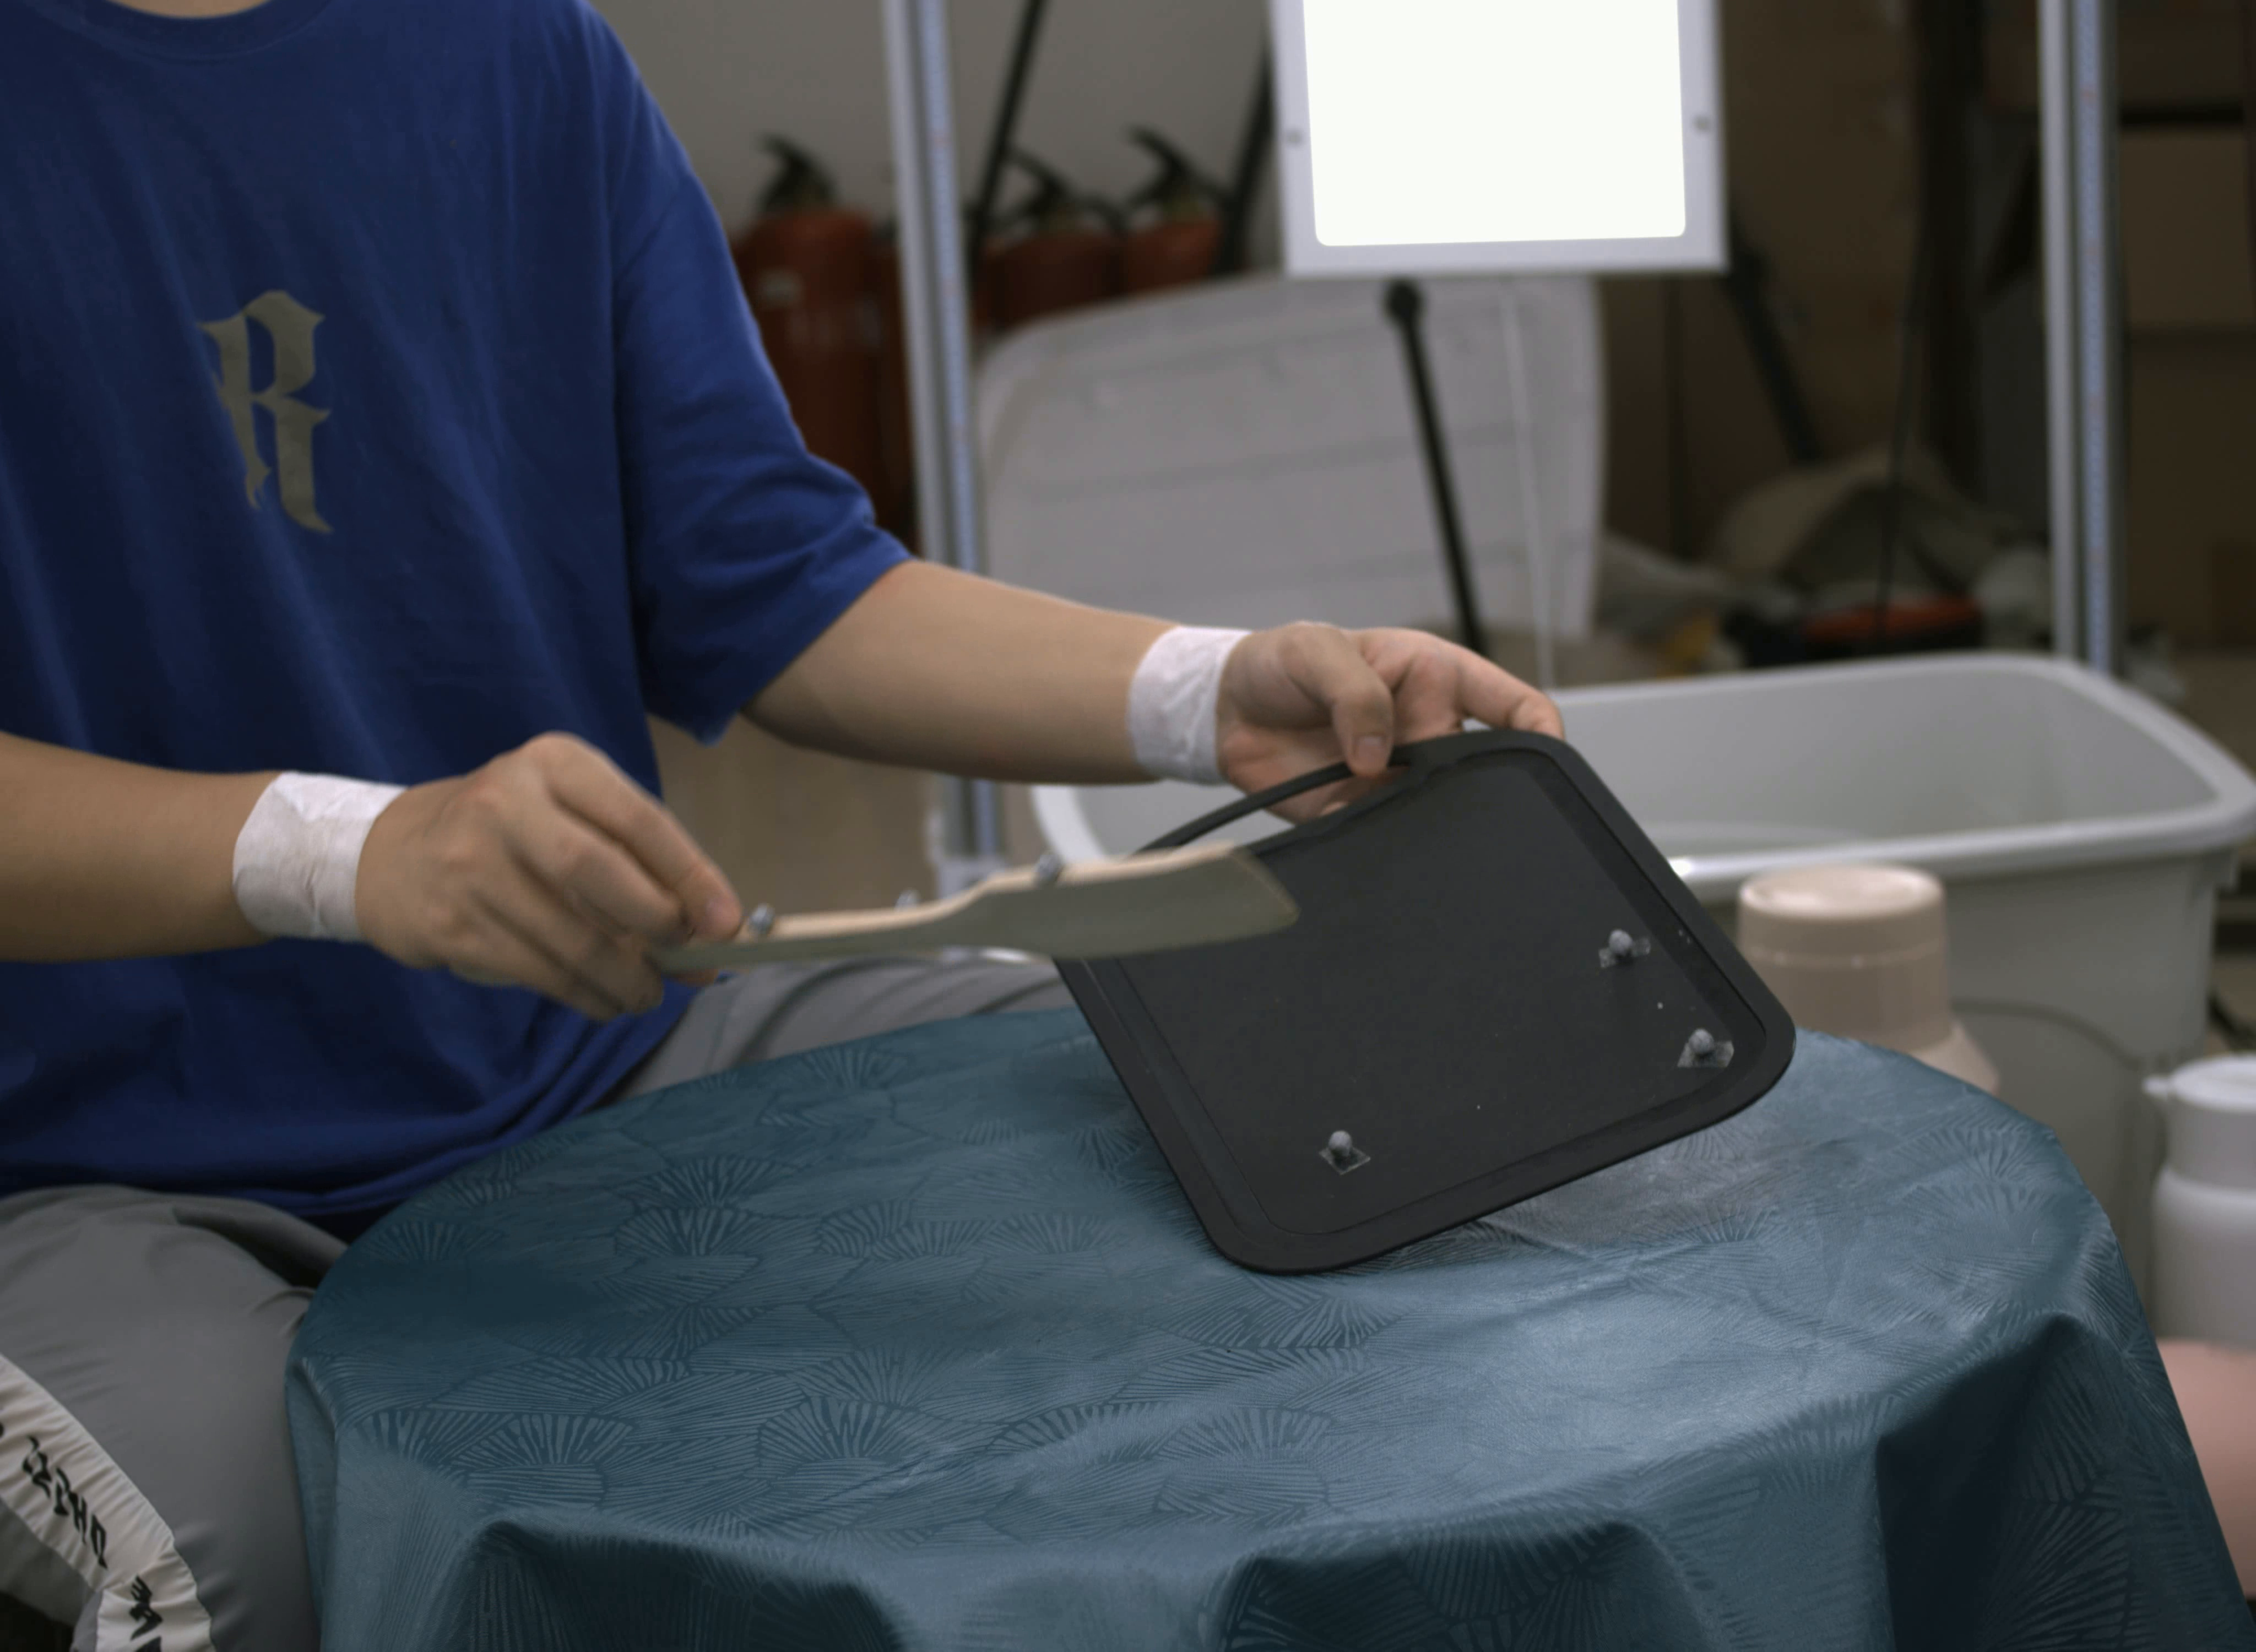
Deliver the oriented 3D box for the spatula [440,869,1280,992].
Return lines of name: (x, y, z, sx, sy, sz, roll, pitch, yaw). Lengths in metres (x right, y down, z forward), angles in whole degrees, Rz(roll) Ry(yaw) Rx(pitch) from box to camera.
spatula: (-0.096, 0.039, 1.817, 0.297, 0.010, 0.071, -5, -20, 23)

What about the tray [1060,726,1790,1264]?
tray: (0.094, 0.049, 1.935, 0.210, 0.010, 0.327, -21, 28, -4)
